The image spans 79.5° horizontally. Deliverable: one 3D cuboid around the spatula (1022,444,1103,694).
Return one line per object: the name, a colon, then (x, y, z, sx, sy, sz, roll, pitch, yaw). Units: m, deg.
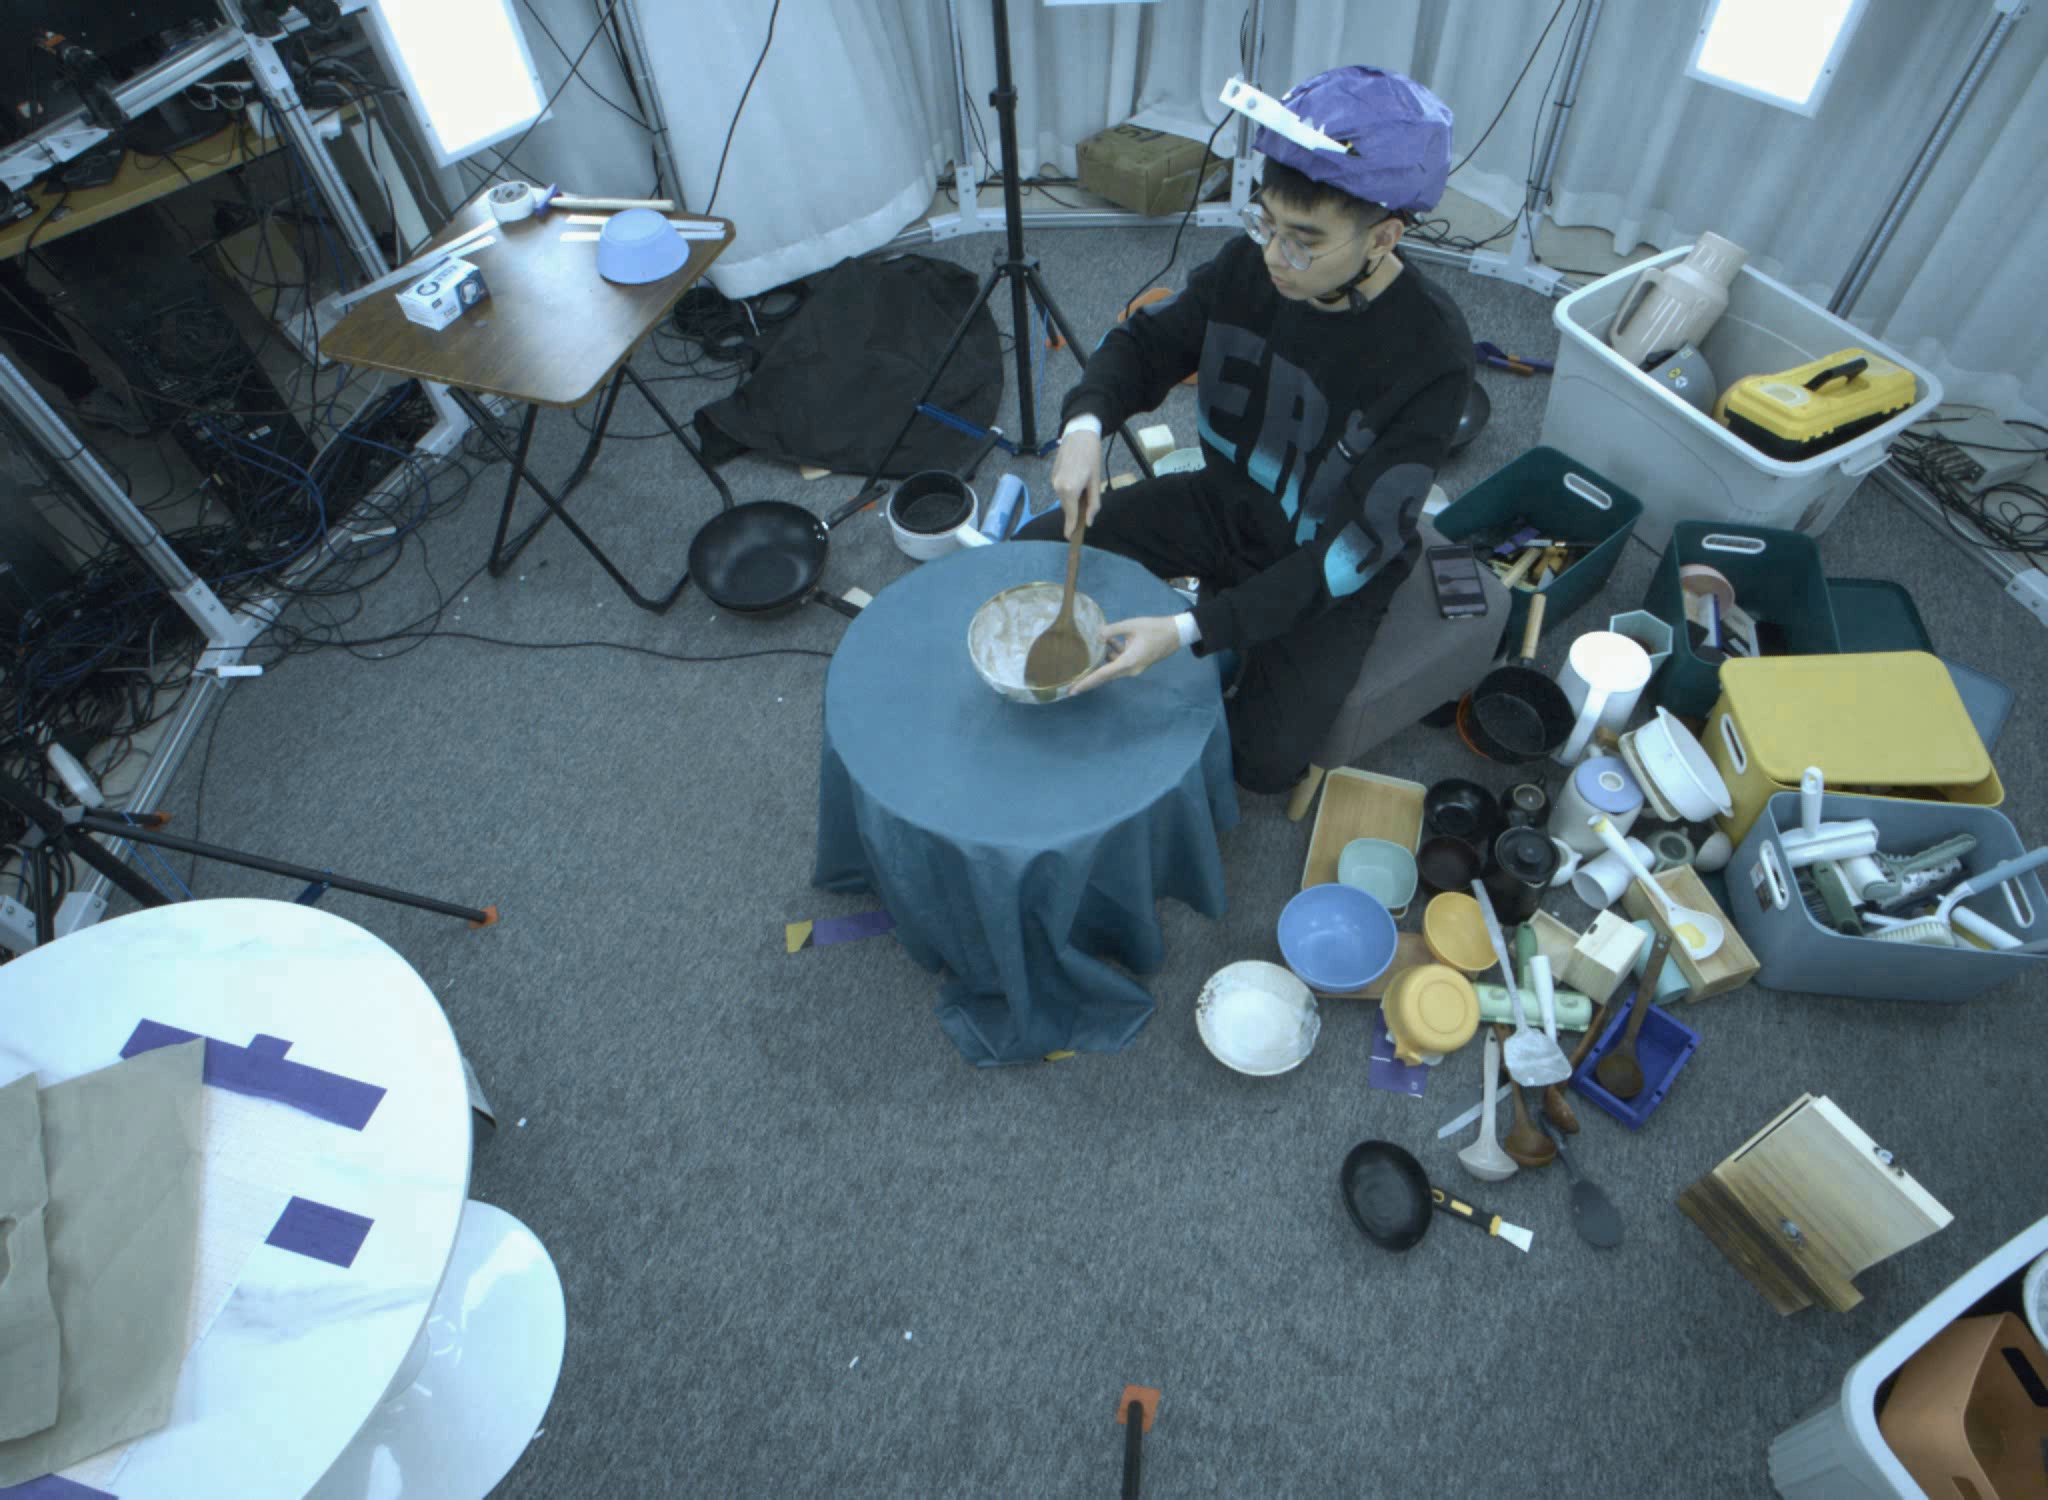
spatula: (0.072, -0.268, 1.797, 0.095, 0.016, 0.385, 9, 86, 13)

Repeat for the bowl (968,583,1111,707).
bowl: (0.027, -0.138, 1.802, 0.214, 0.095, 0.212, 0, 56, 2)
